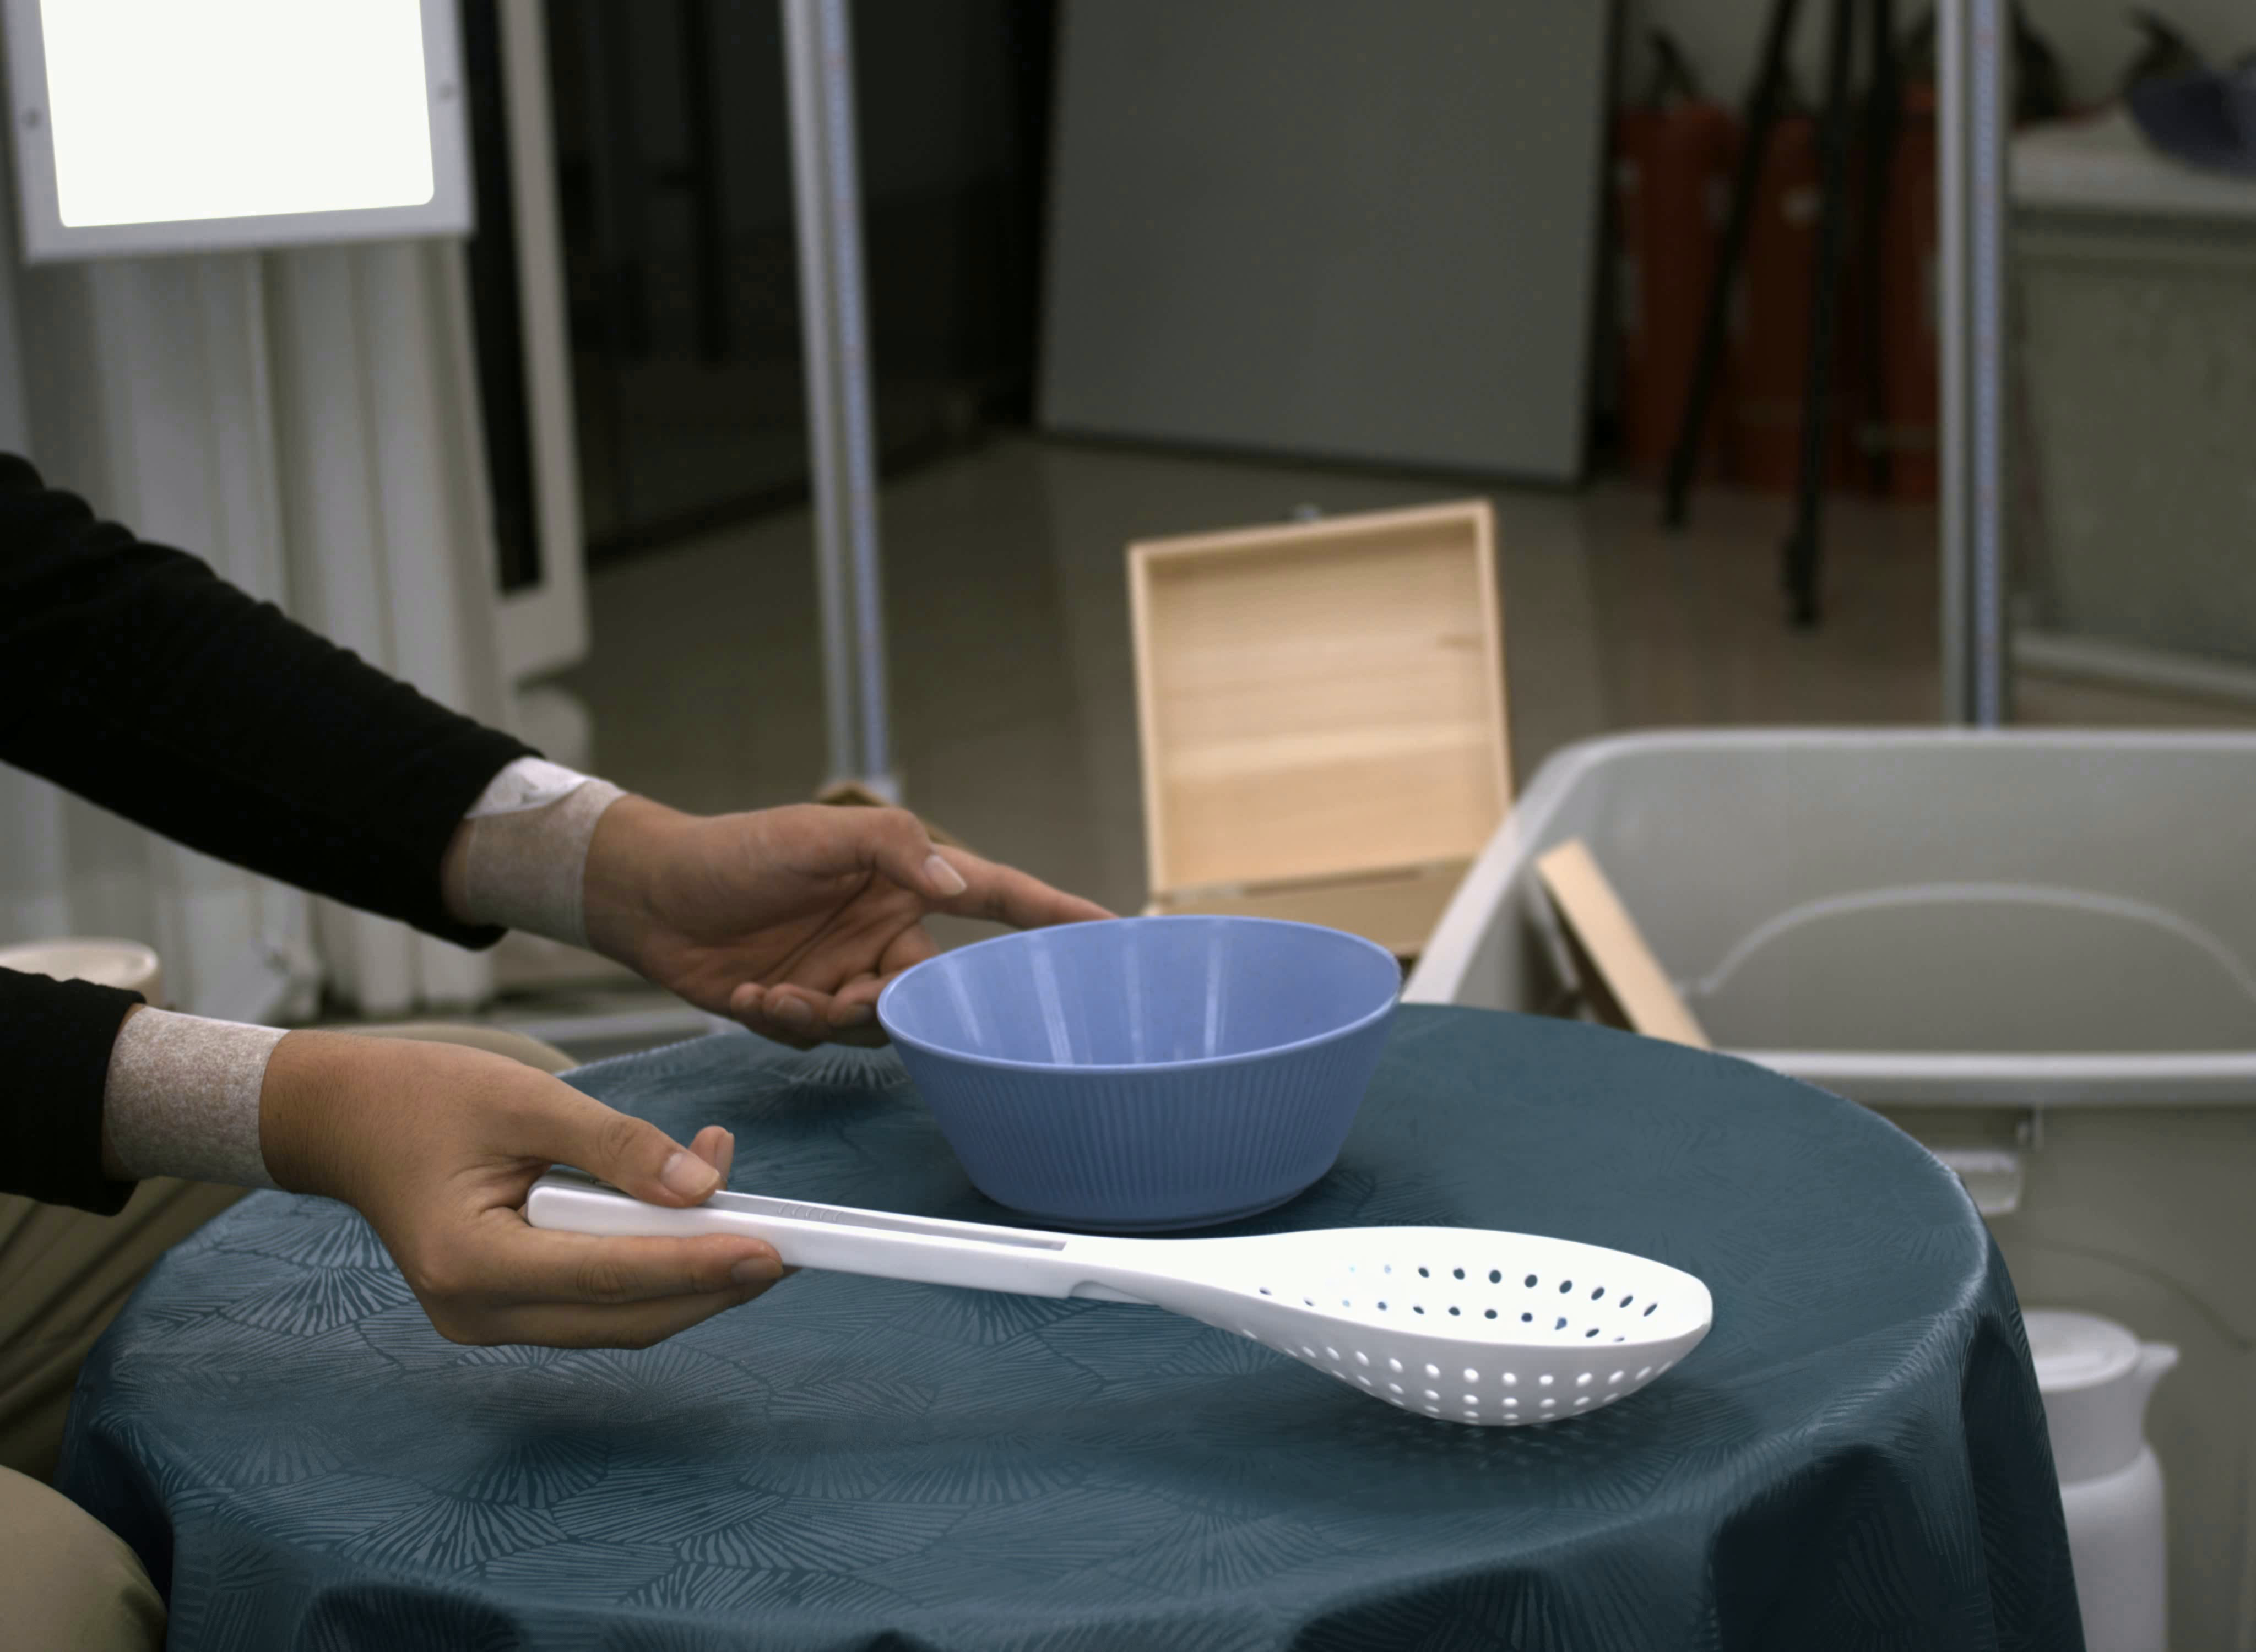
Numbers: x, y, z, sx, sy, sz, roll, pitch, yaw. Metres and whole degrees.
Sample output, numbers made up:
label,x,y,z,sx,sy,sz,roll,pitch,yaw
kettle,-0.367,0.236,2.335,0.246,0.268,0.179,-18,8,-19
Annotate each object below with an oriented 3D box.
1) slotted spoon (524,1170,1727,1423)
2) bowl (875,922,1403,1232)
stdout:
label,x,y,z,sx,sy,sz,roll,pitch,yaw
slotted spoon,-0.003,0.126,1.549,0.346,0.046,0.135,10,11,6
bowl,0.006,0.084,1.771,0.174,0.071,0.176,-5,13,0
